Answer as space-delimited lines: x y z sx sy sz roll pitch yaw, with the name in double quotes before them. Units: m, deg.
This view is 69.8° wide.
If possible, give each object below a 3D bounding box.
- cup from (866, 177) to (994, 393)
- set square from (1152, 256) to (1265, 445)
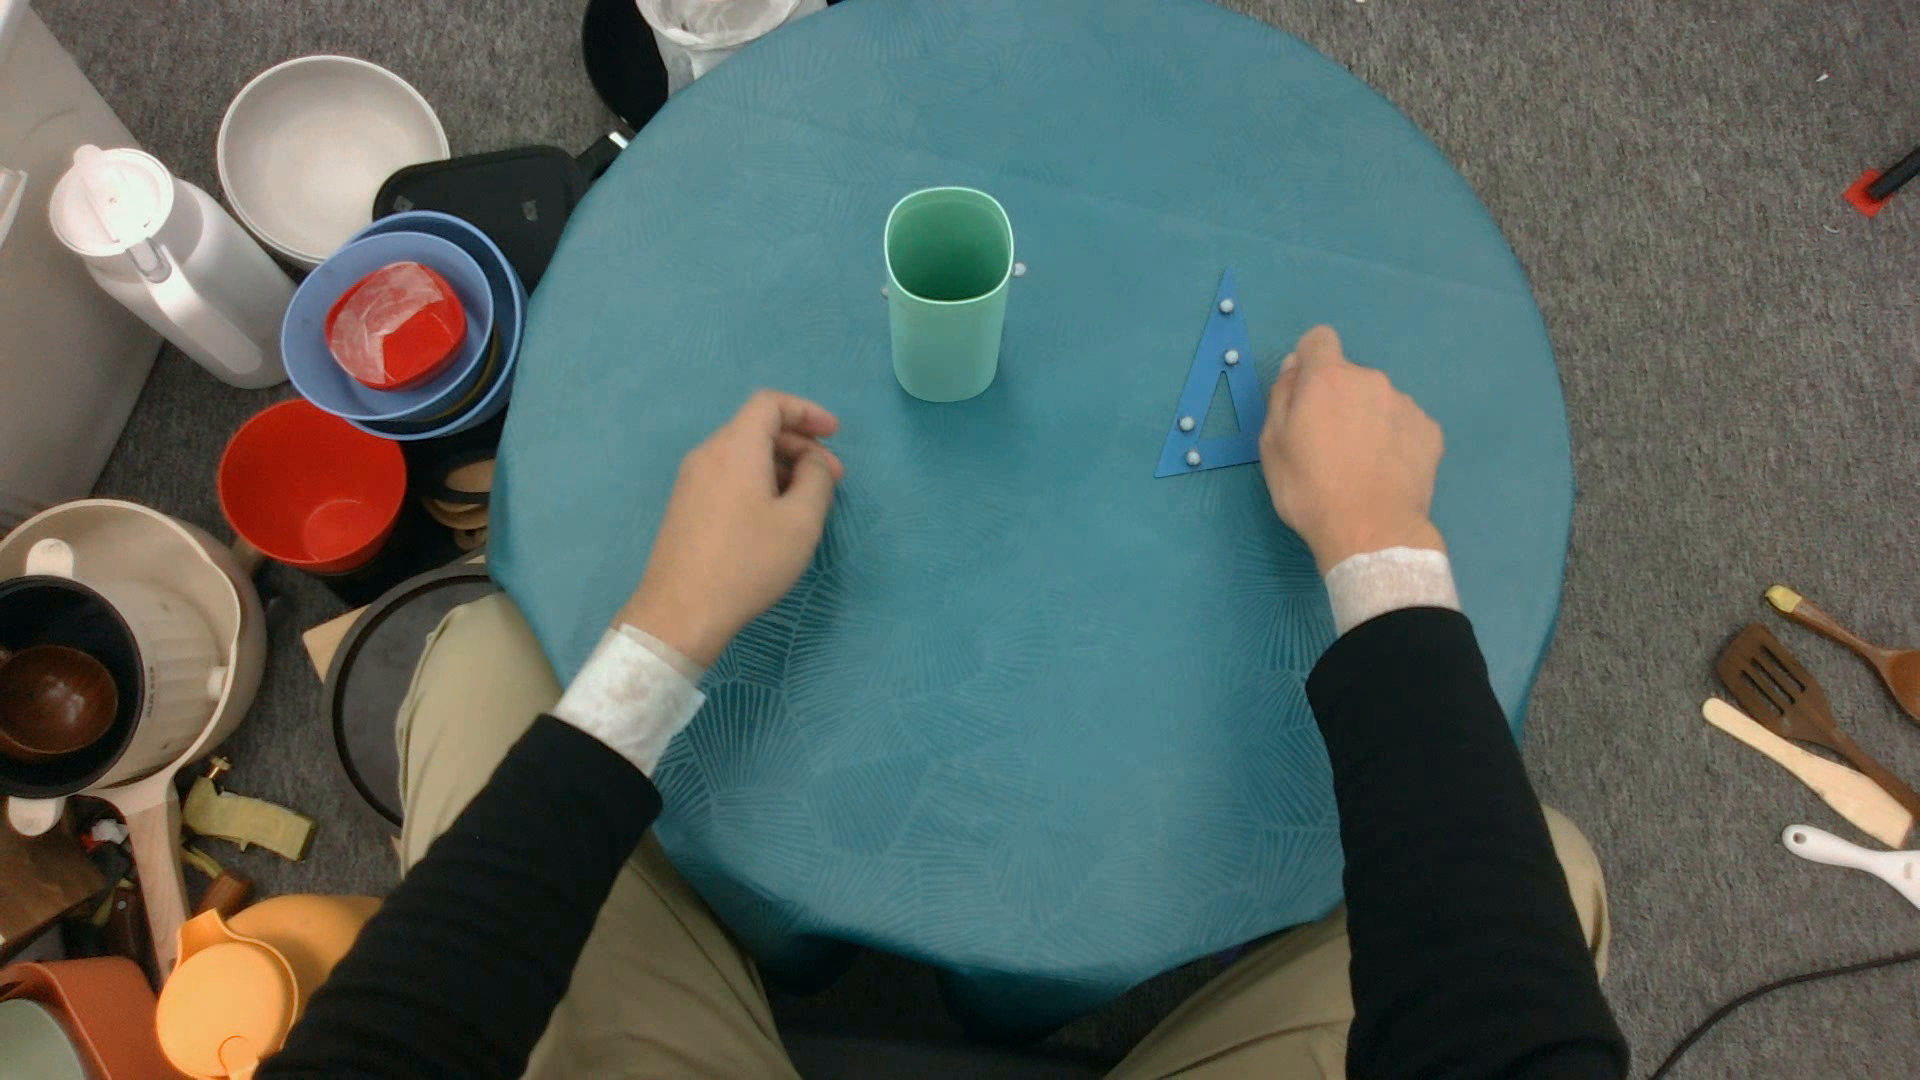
"cup" -0.018 -0.129 0.728 0.067 0.132 0.067 1 74 -3
"set square" 0.159 -0.102 0.790 0.061 0.006 0.132 23 74 5
